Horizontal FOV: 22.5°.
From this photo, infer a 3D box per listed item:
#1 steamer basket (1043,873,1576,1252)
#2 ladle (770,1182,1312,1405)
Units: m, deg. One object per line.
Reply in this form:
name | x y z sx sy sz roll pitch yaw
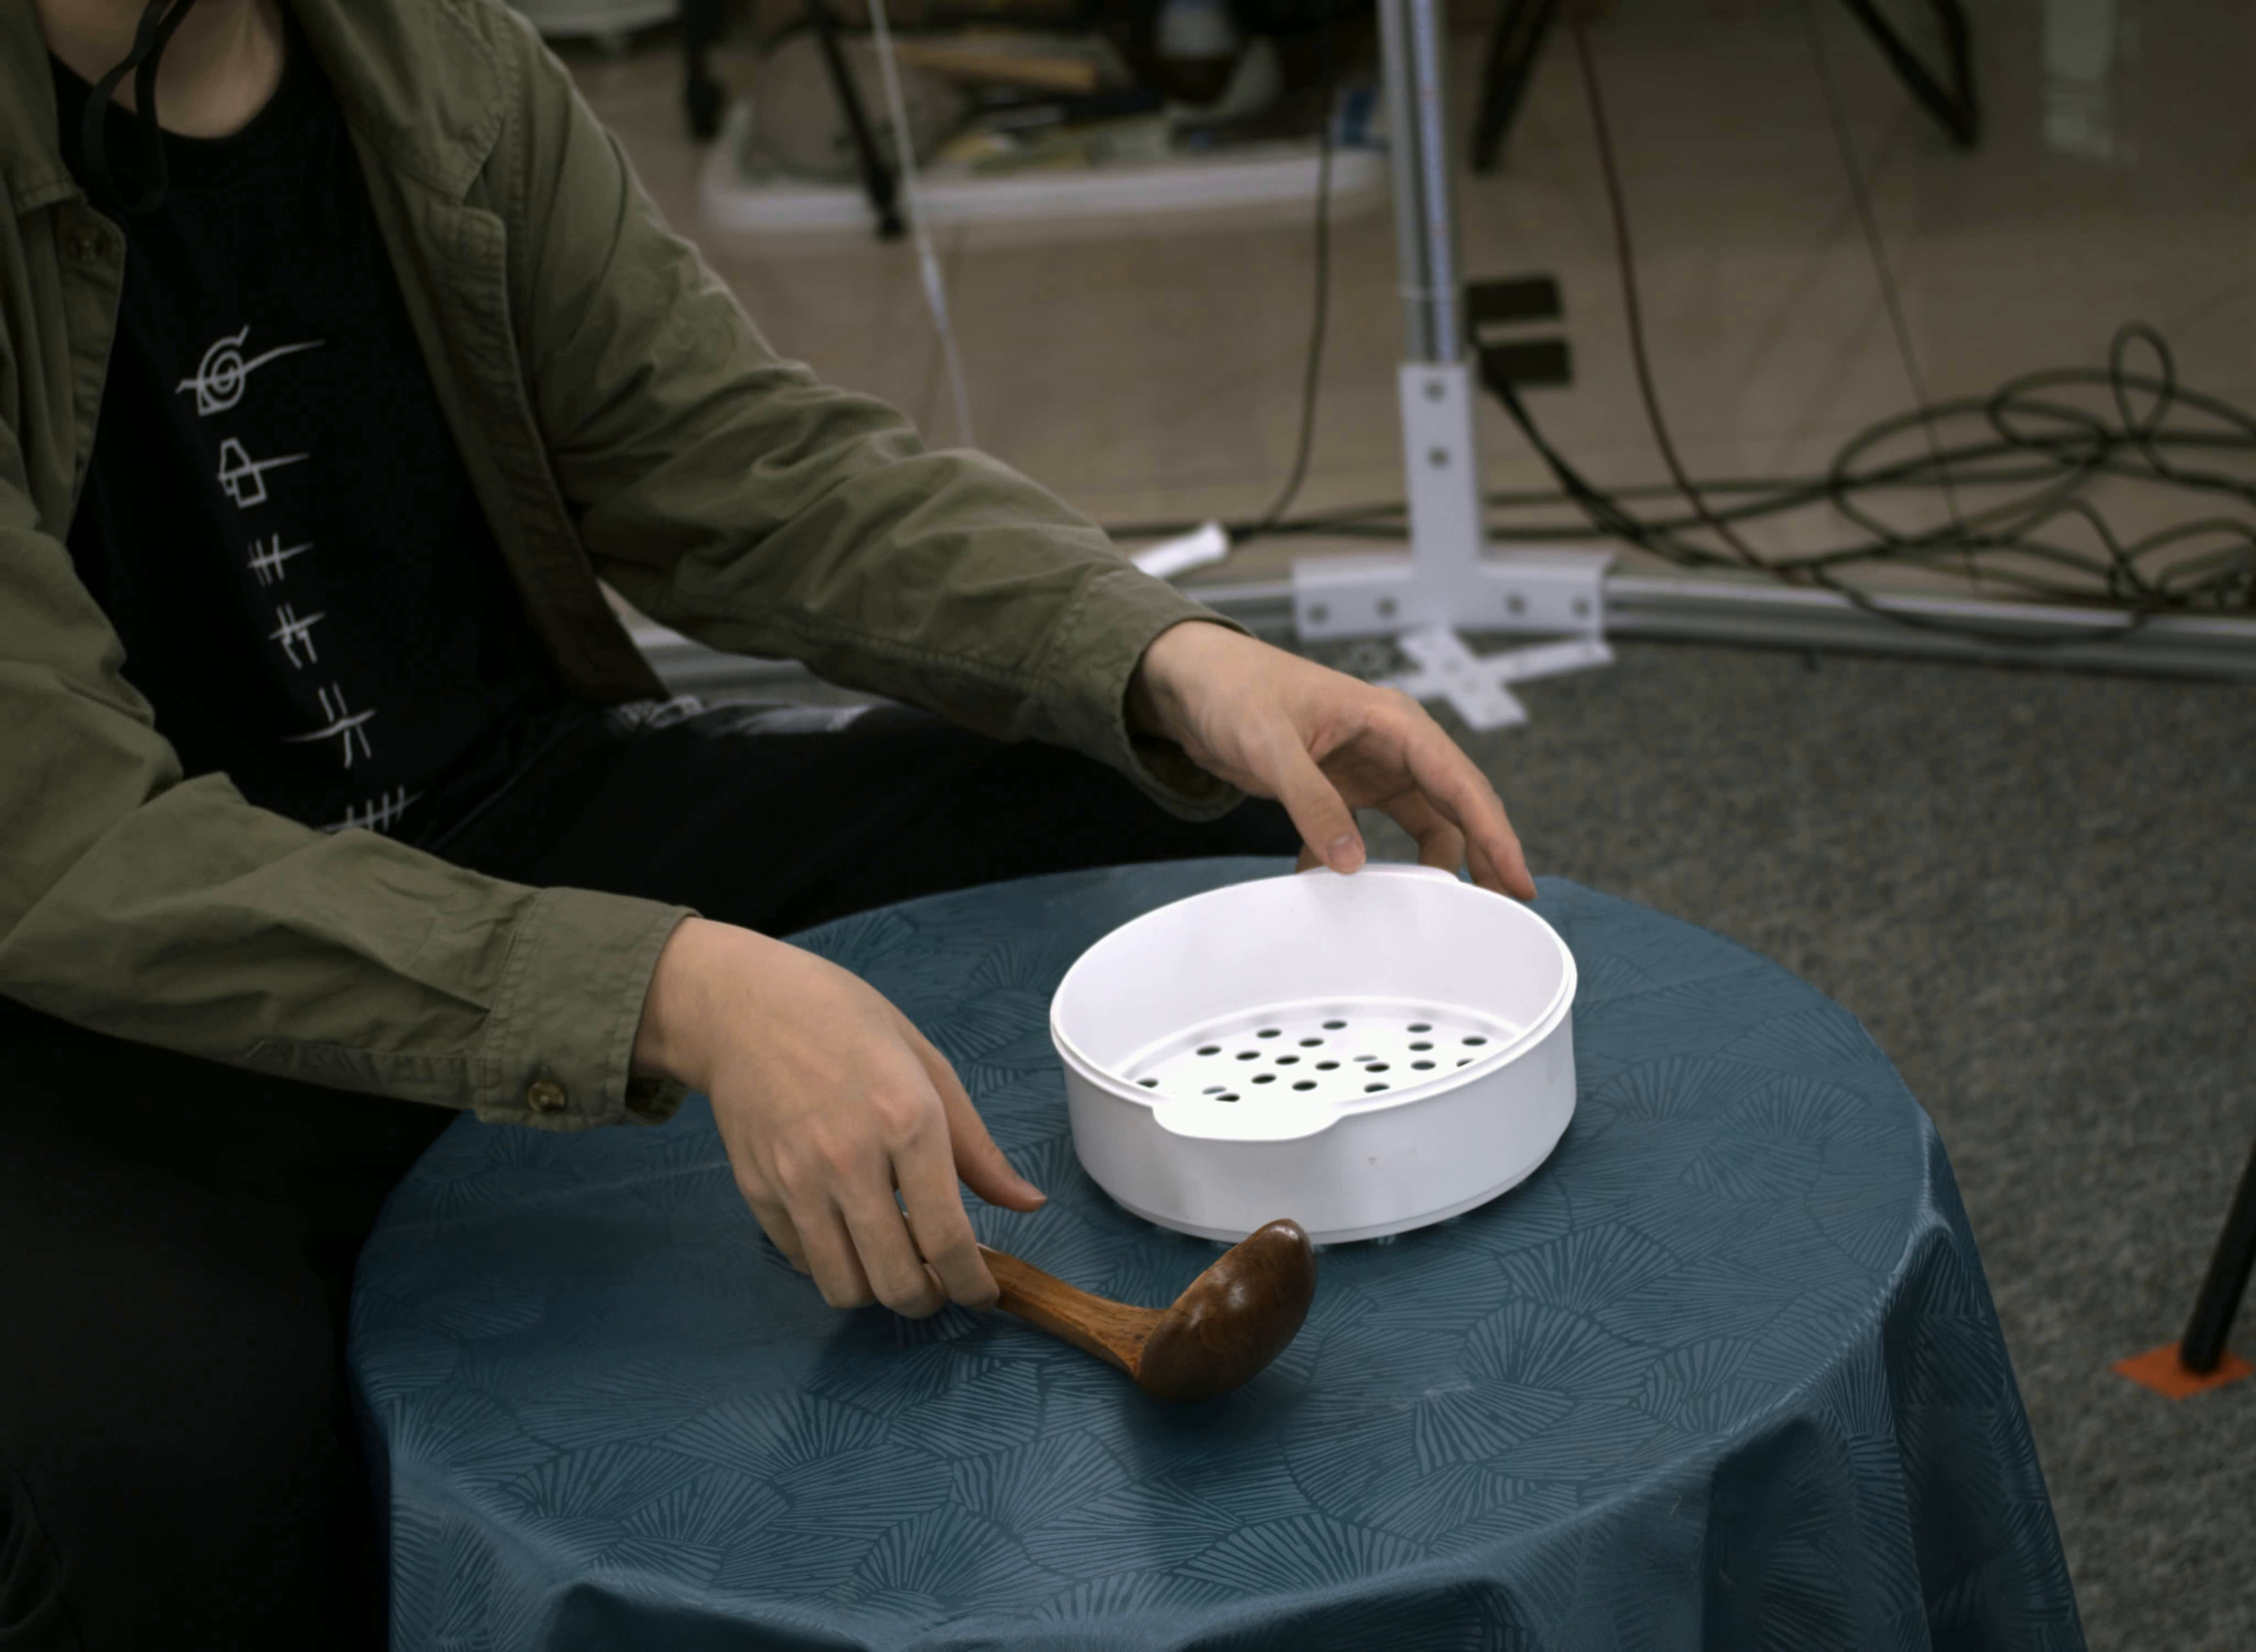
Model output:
steamer basket | 0.071 0.091 2.155 0.201 0.070 0.227 3 26 18
ladle | -0.044 0.148 2.054 0.081 0.078 0.272 -30 34 -36
